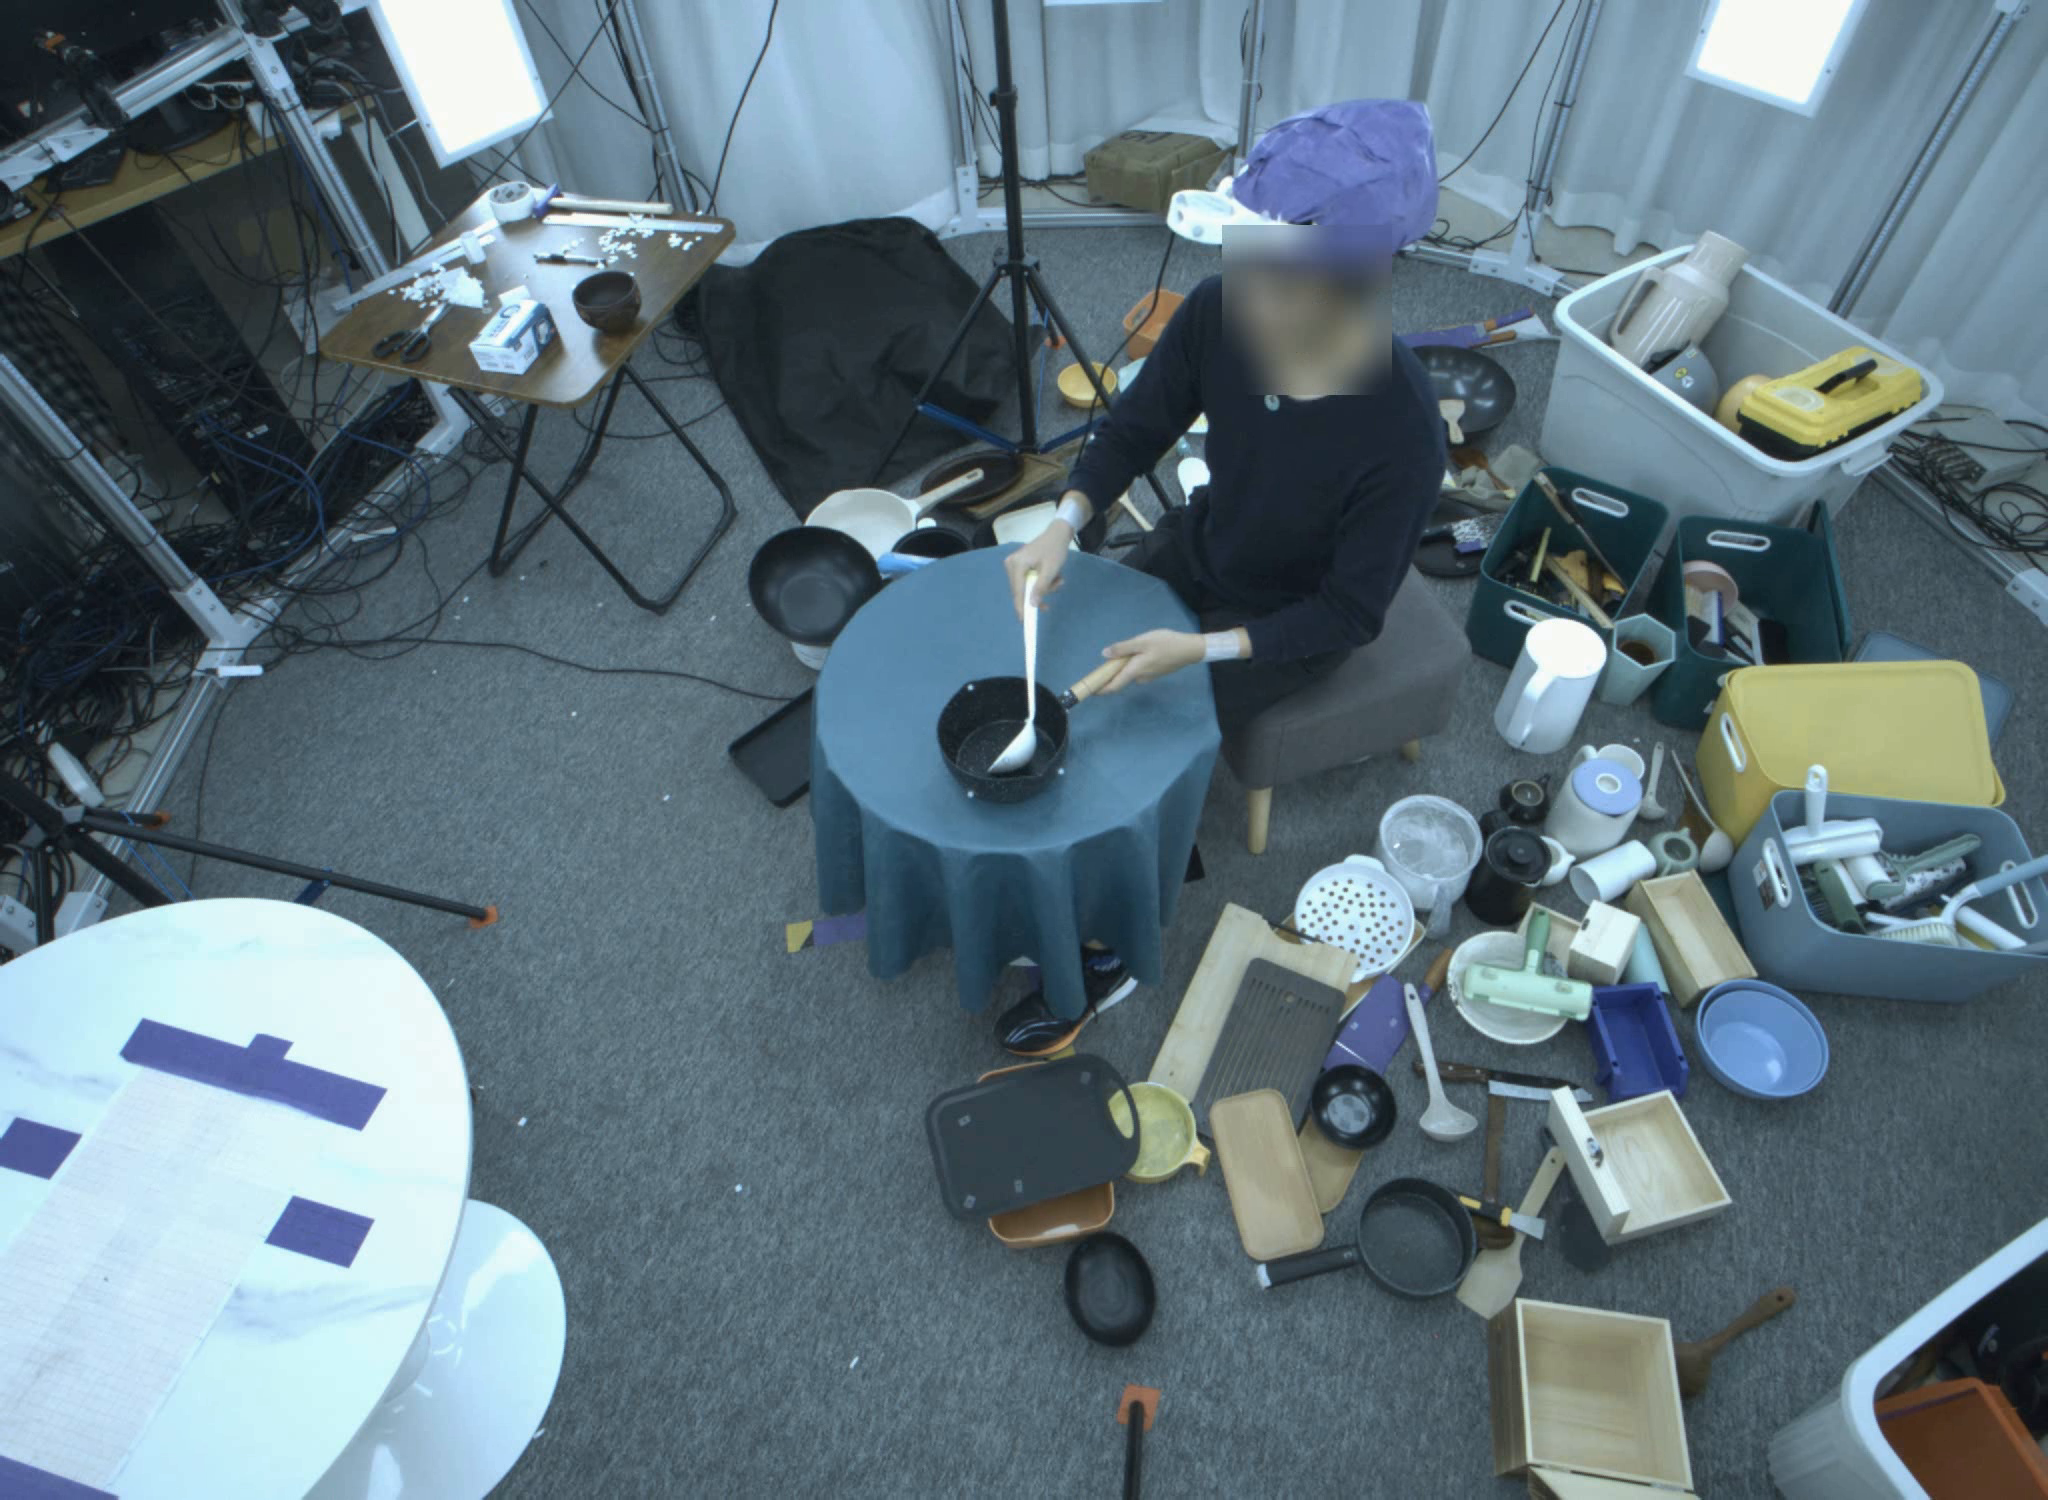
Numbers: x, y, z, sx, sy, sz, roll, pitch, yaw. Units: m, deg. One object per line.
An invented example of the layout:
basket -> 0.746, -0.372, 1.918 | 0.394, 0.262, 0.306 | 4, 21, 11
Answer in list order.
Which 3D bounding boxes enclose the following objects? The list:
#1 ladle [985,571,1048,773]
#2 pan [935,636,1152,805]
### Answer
ladle -> -0.010, -0.110, 1.749 | 0.070, 0.090, 0.292 | 4, 88, 3
pan -> 0.038, -0.052, 1.756 | 0.345, 0.109, 0.203 | -30, 58, -16
